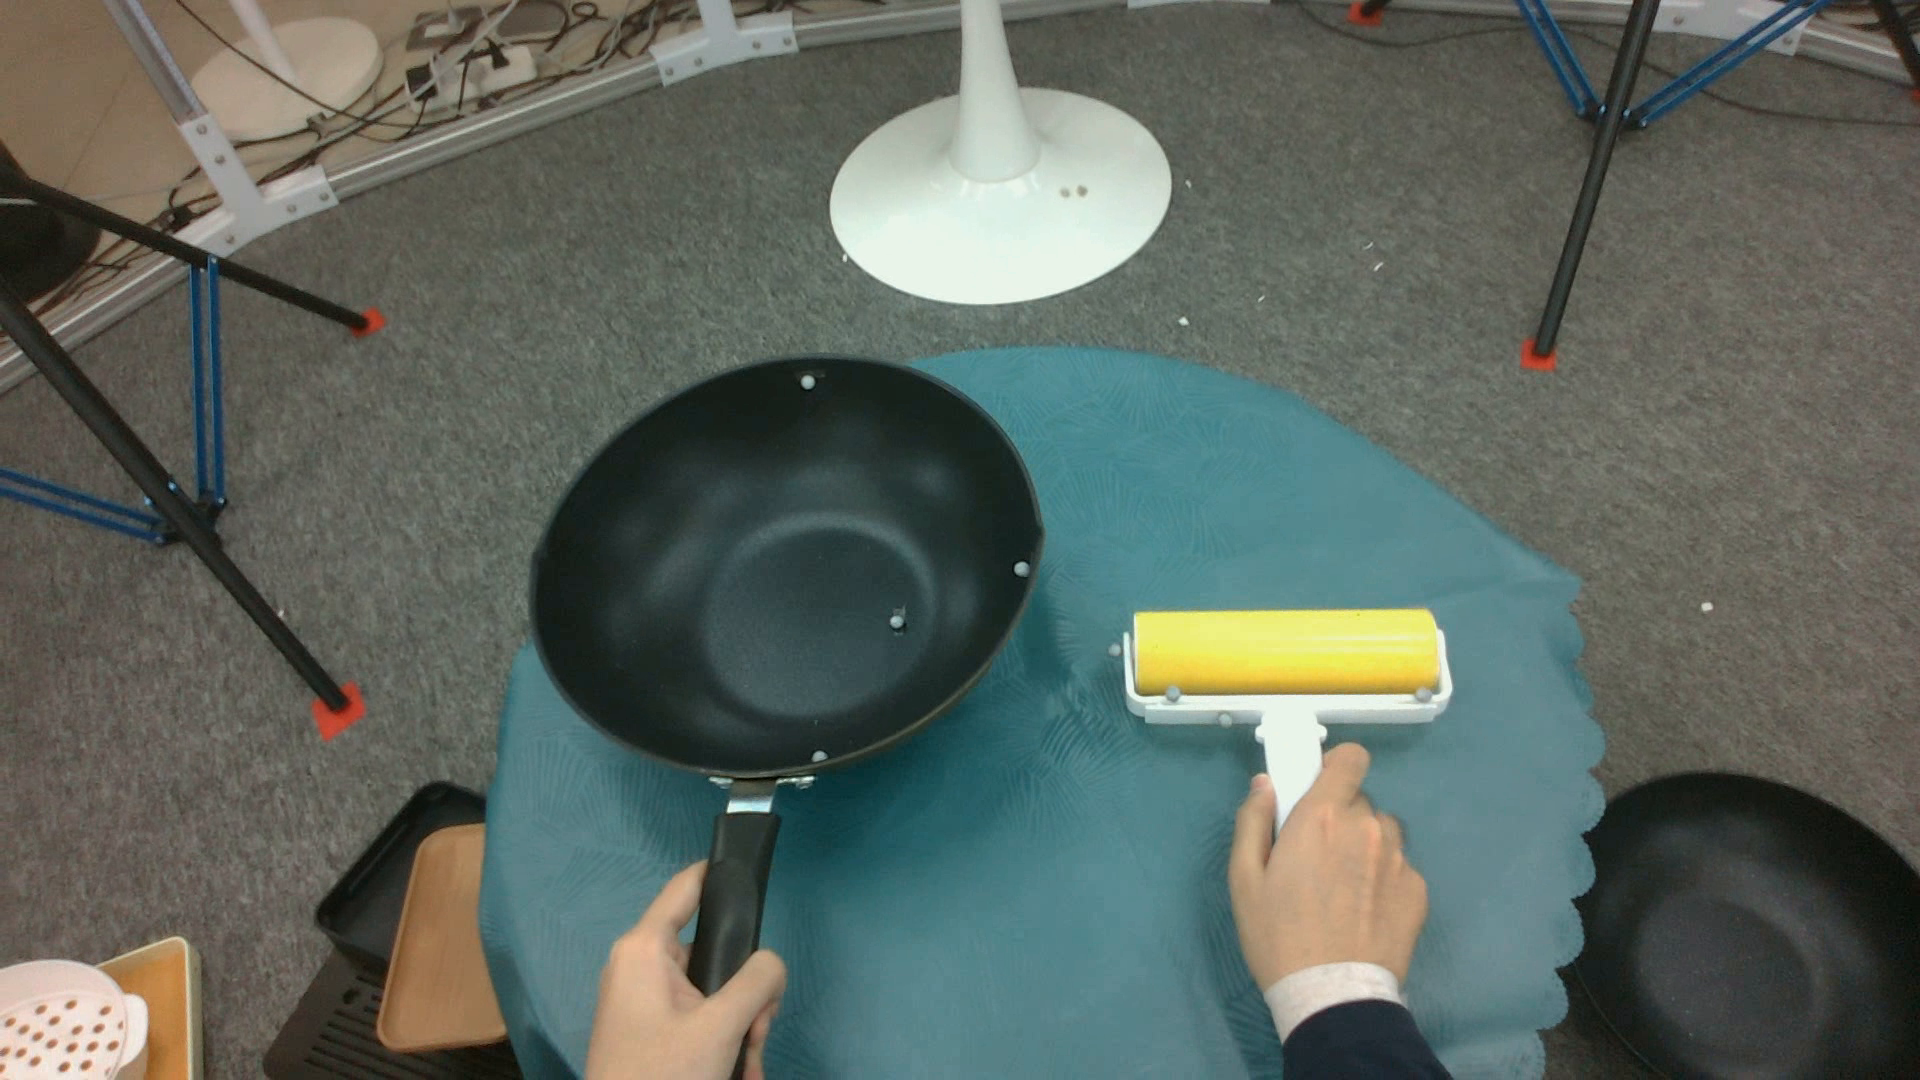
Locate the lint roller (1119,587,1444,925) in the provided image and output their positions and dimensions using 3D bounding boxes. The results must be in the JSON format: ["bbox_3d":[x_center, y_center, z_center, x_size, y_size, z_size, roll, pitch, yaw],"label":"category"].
[{"bbox_3d":[0.174,0.103,0.715,0.174,0.051,0.193,-2,41,5],"label":"lint roller"}]

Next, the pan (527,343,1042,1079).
[{"bbox_3d":[-0.098,0.094,0.729,0.288,0.086,0.465,-2,55,7],"label":"pan"}]
